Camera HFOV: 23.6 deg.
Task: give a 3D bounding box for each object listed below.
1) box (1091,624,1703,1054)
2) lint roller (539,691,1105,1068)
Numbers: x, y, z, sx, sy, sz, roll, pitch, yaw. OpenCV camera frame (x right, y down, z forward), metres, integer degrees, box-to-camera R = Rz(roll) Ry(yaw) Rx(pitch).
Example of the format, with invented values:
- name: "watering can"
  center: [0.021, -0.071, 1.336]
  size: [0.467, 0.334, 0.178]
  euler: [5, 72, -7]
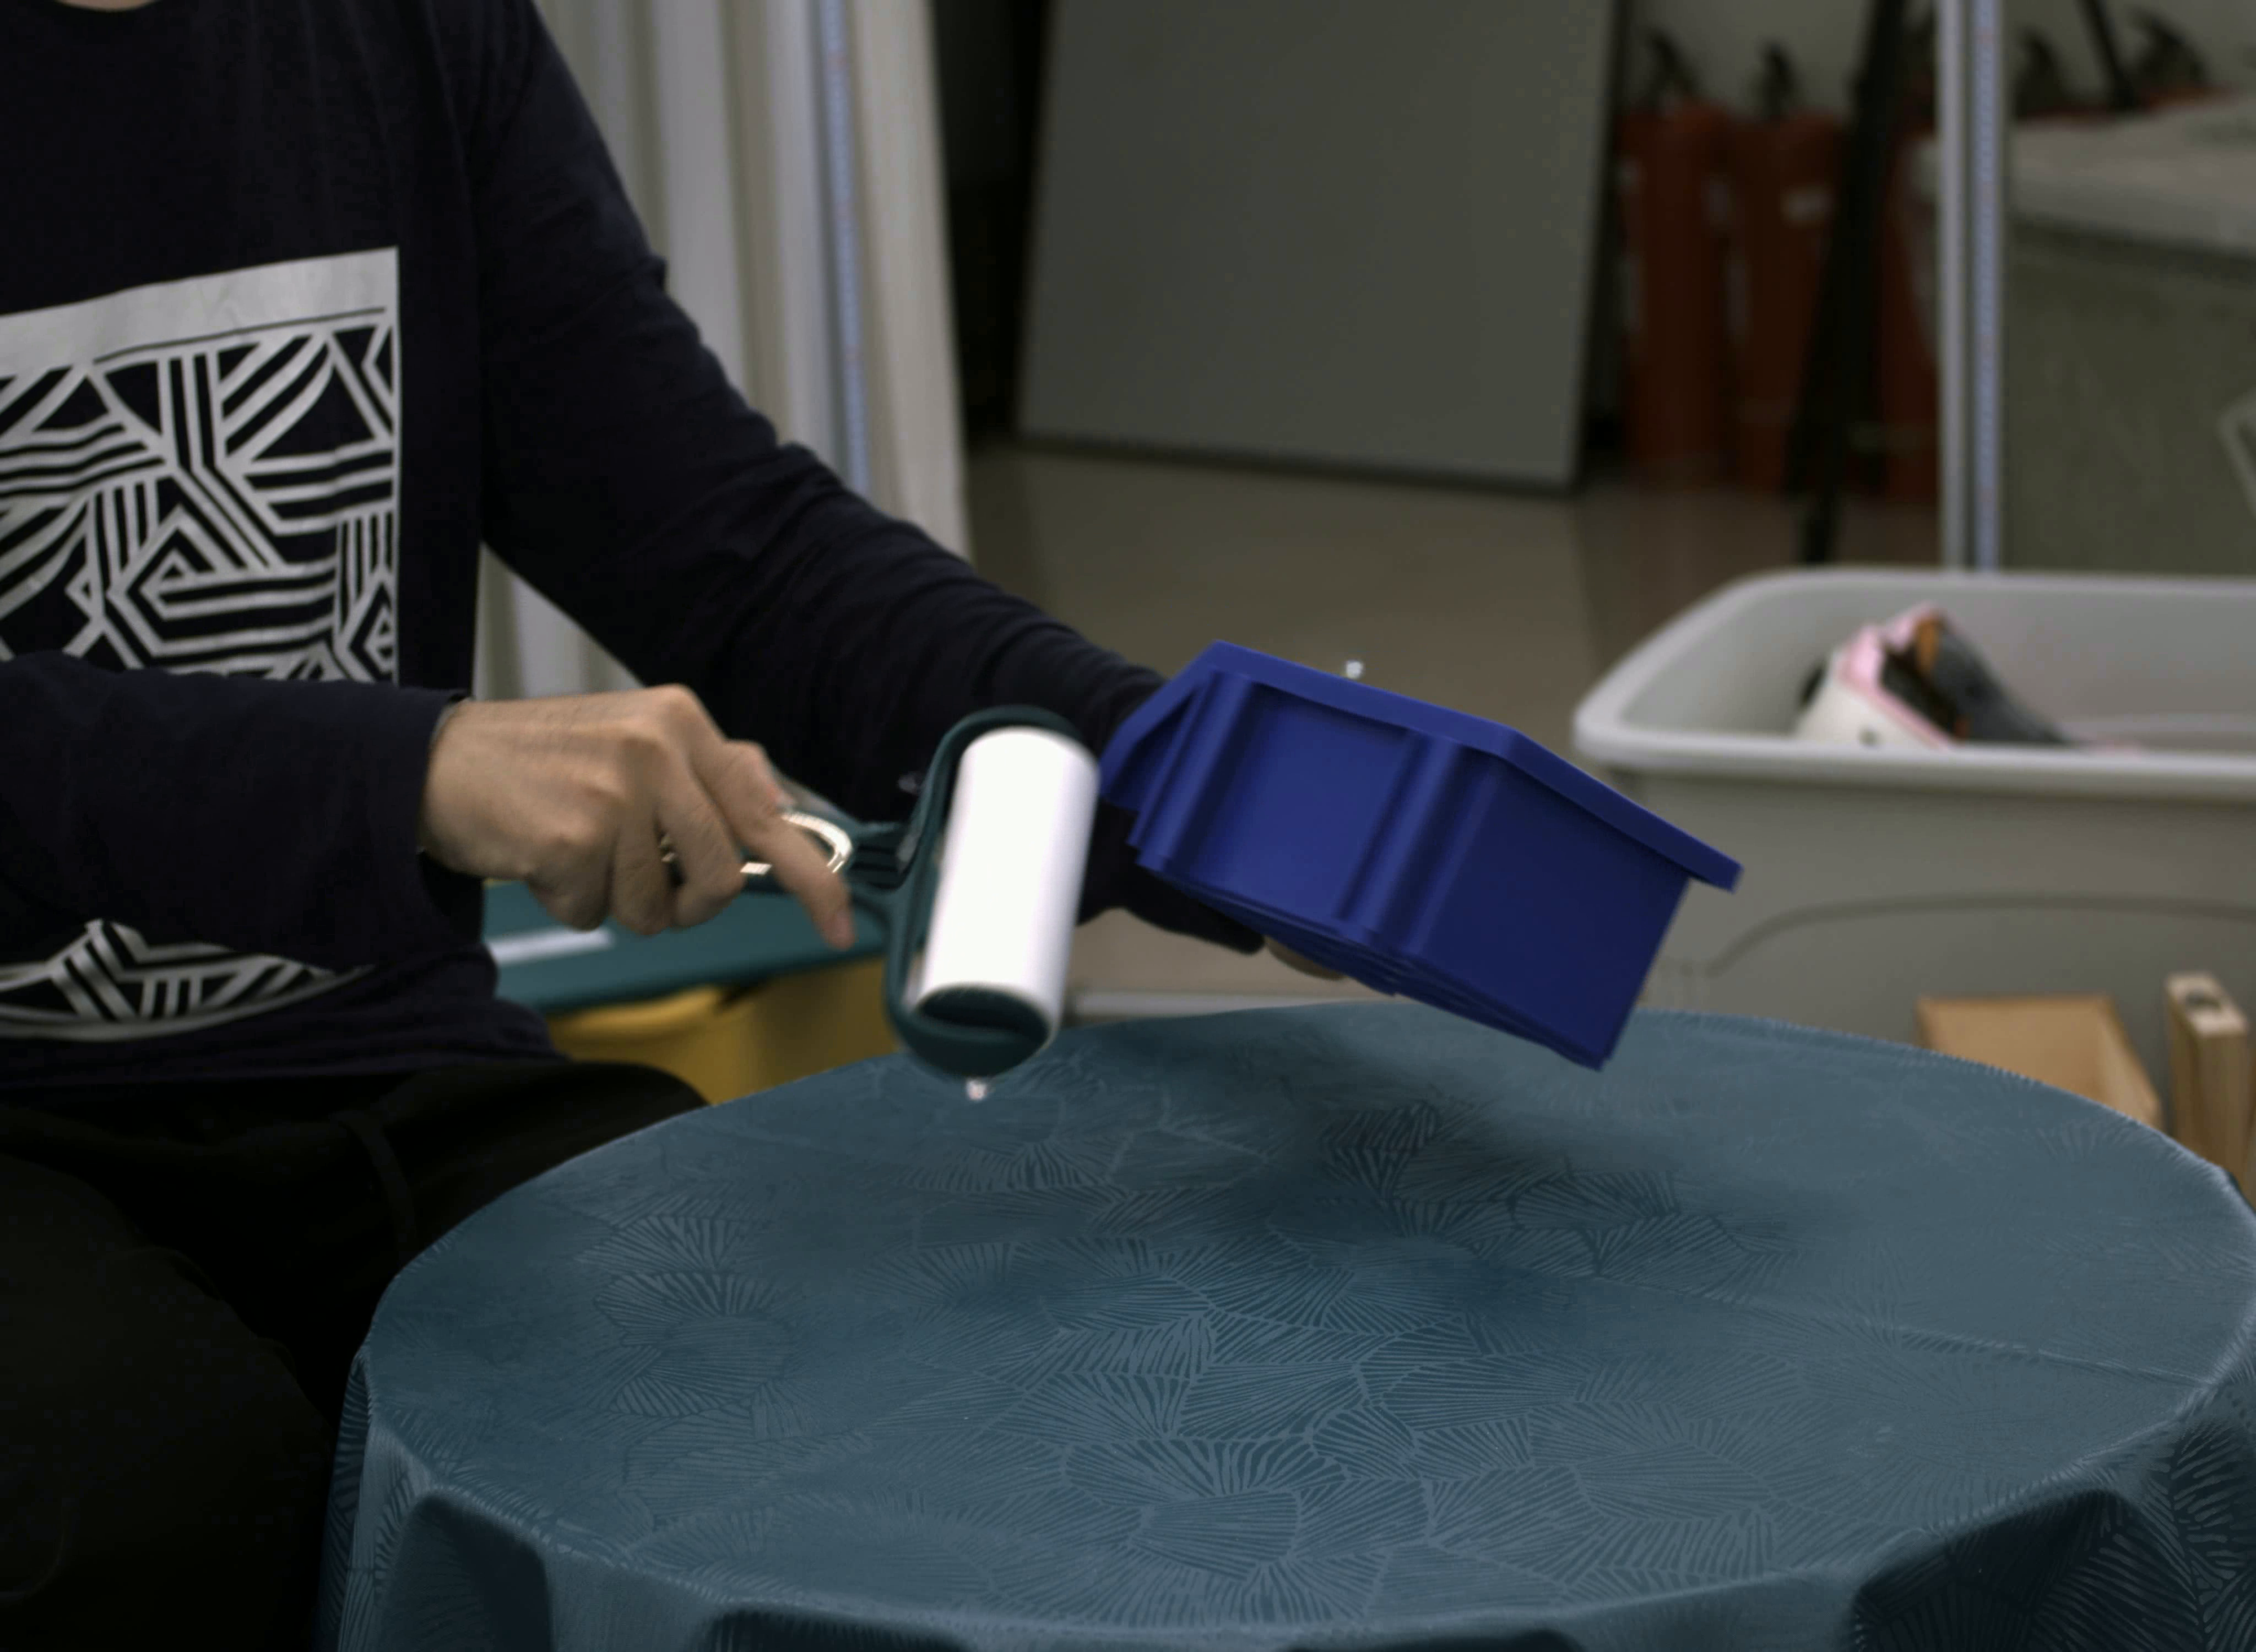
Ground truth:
- name: "box"
  center: [0.077, 0.002, 1.763]
  size: [0.122, 0.082, 0.181]
  euler: [26, -3, -35]
- name: "lint roller"
  center: [-0.100, 0.004, 1.741]
  size: [0.177, 0.048, 0.135]
  euler: [11, 56, -3]
